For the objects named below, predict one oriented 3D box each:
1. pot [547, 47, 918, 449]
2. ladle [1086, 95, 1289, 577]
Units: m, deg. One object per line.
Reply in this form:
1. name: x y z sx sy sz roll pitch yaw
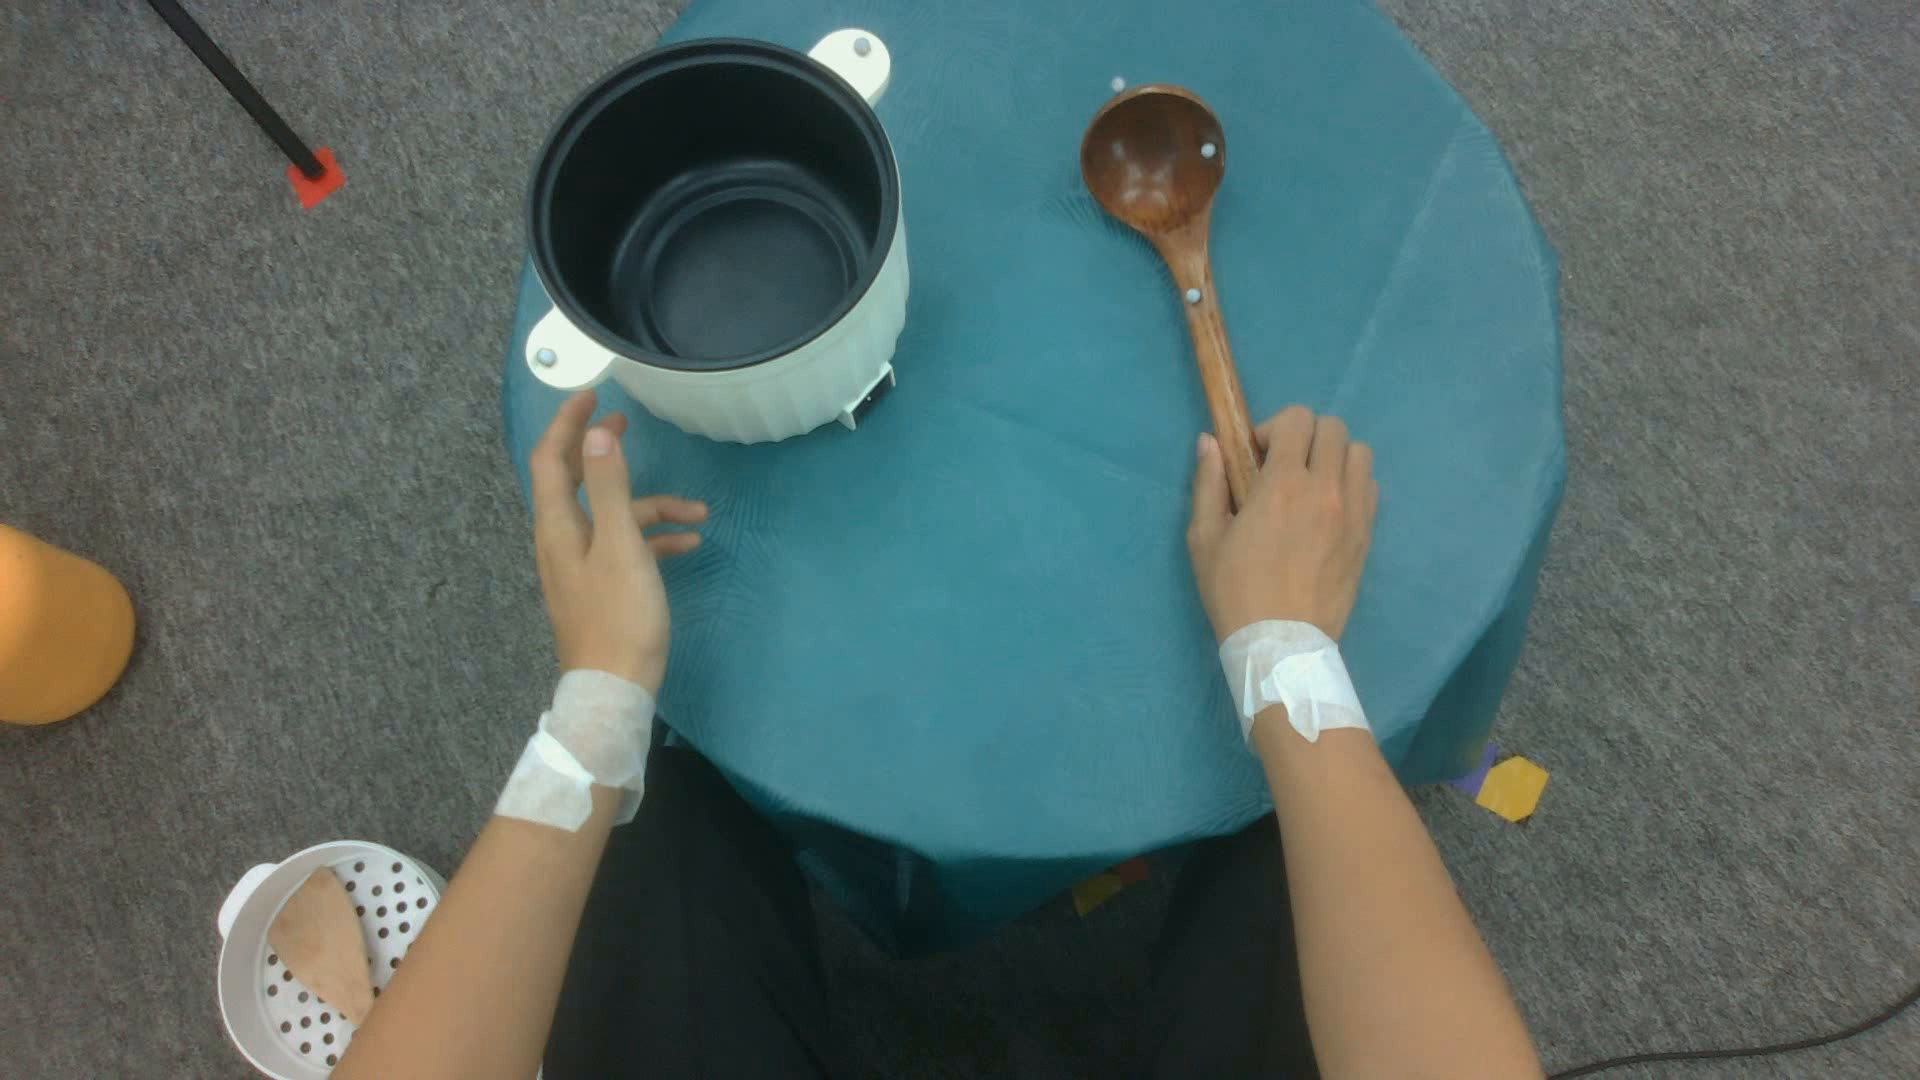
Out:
1. pot: -0.117 -0.146 0.746 0.190 0.142 0.241 38 77 10
2. ladle: 0.132 -0.117 0.759 0.081 0.077 0.274 -20 70 29
